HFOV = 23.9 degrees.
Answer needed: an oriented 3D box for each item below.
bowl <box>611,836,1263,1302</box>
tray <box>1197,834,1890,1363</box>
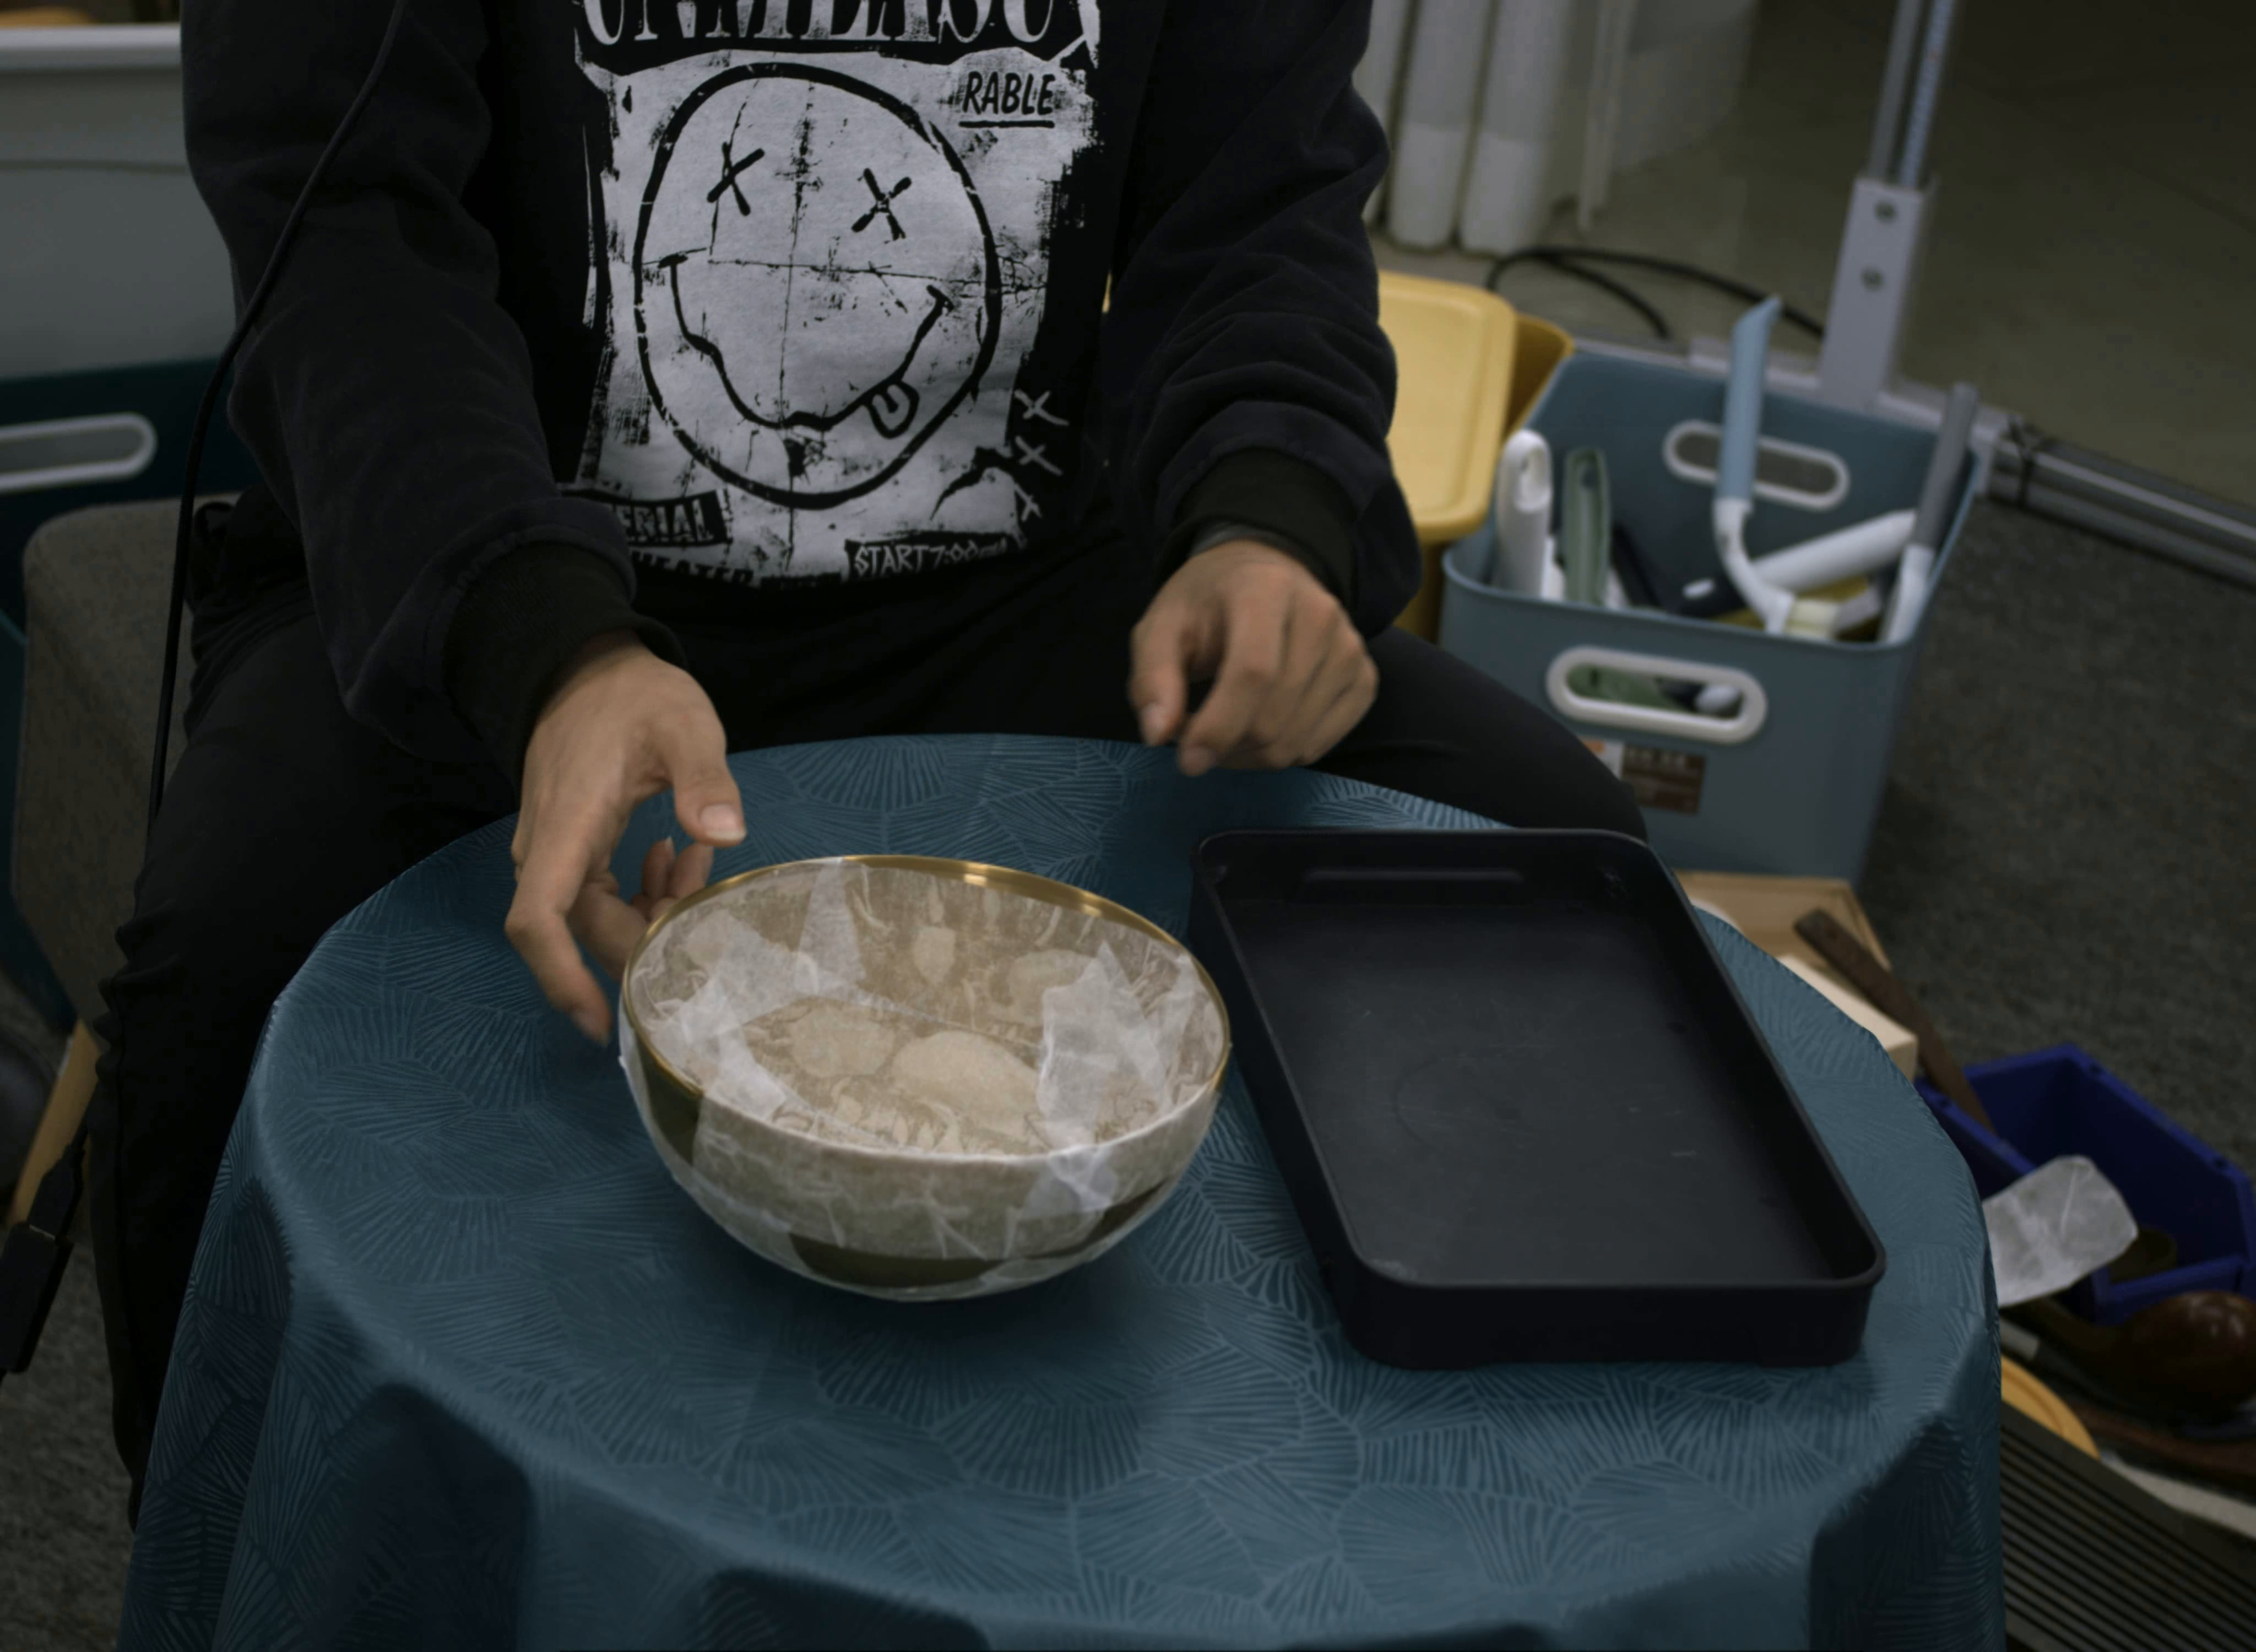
[{"bbox_3d":[-0.068,0.093,1.744,0.214,0.094,0.216,4,27,-2],"label":"bowl"},{"bbox_3d":[0.136,0.089,1.856,0.183,0.037,0.320,0,26,-10],"label":"tray"}]
